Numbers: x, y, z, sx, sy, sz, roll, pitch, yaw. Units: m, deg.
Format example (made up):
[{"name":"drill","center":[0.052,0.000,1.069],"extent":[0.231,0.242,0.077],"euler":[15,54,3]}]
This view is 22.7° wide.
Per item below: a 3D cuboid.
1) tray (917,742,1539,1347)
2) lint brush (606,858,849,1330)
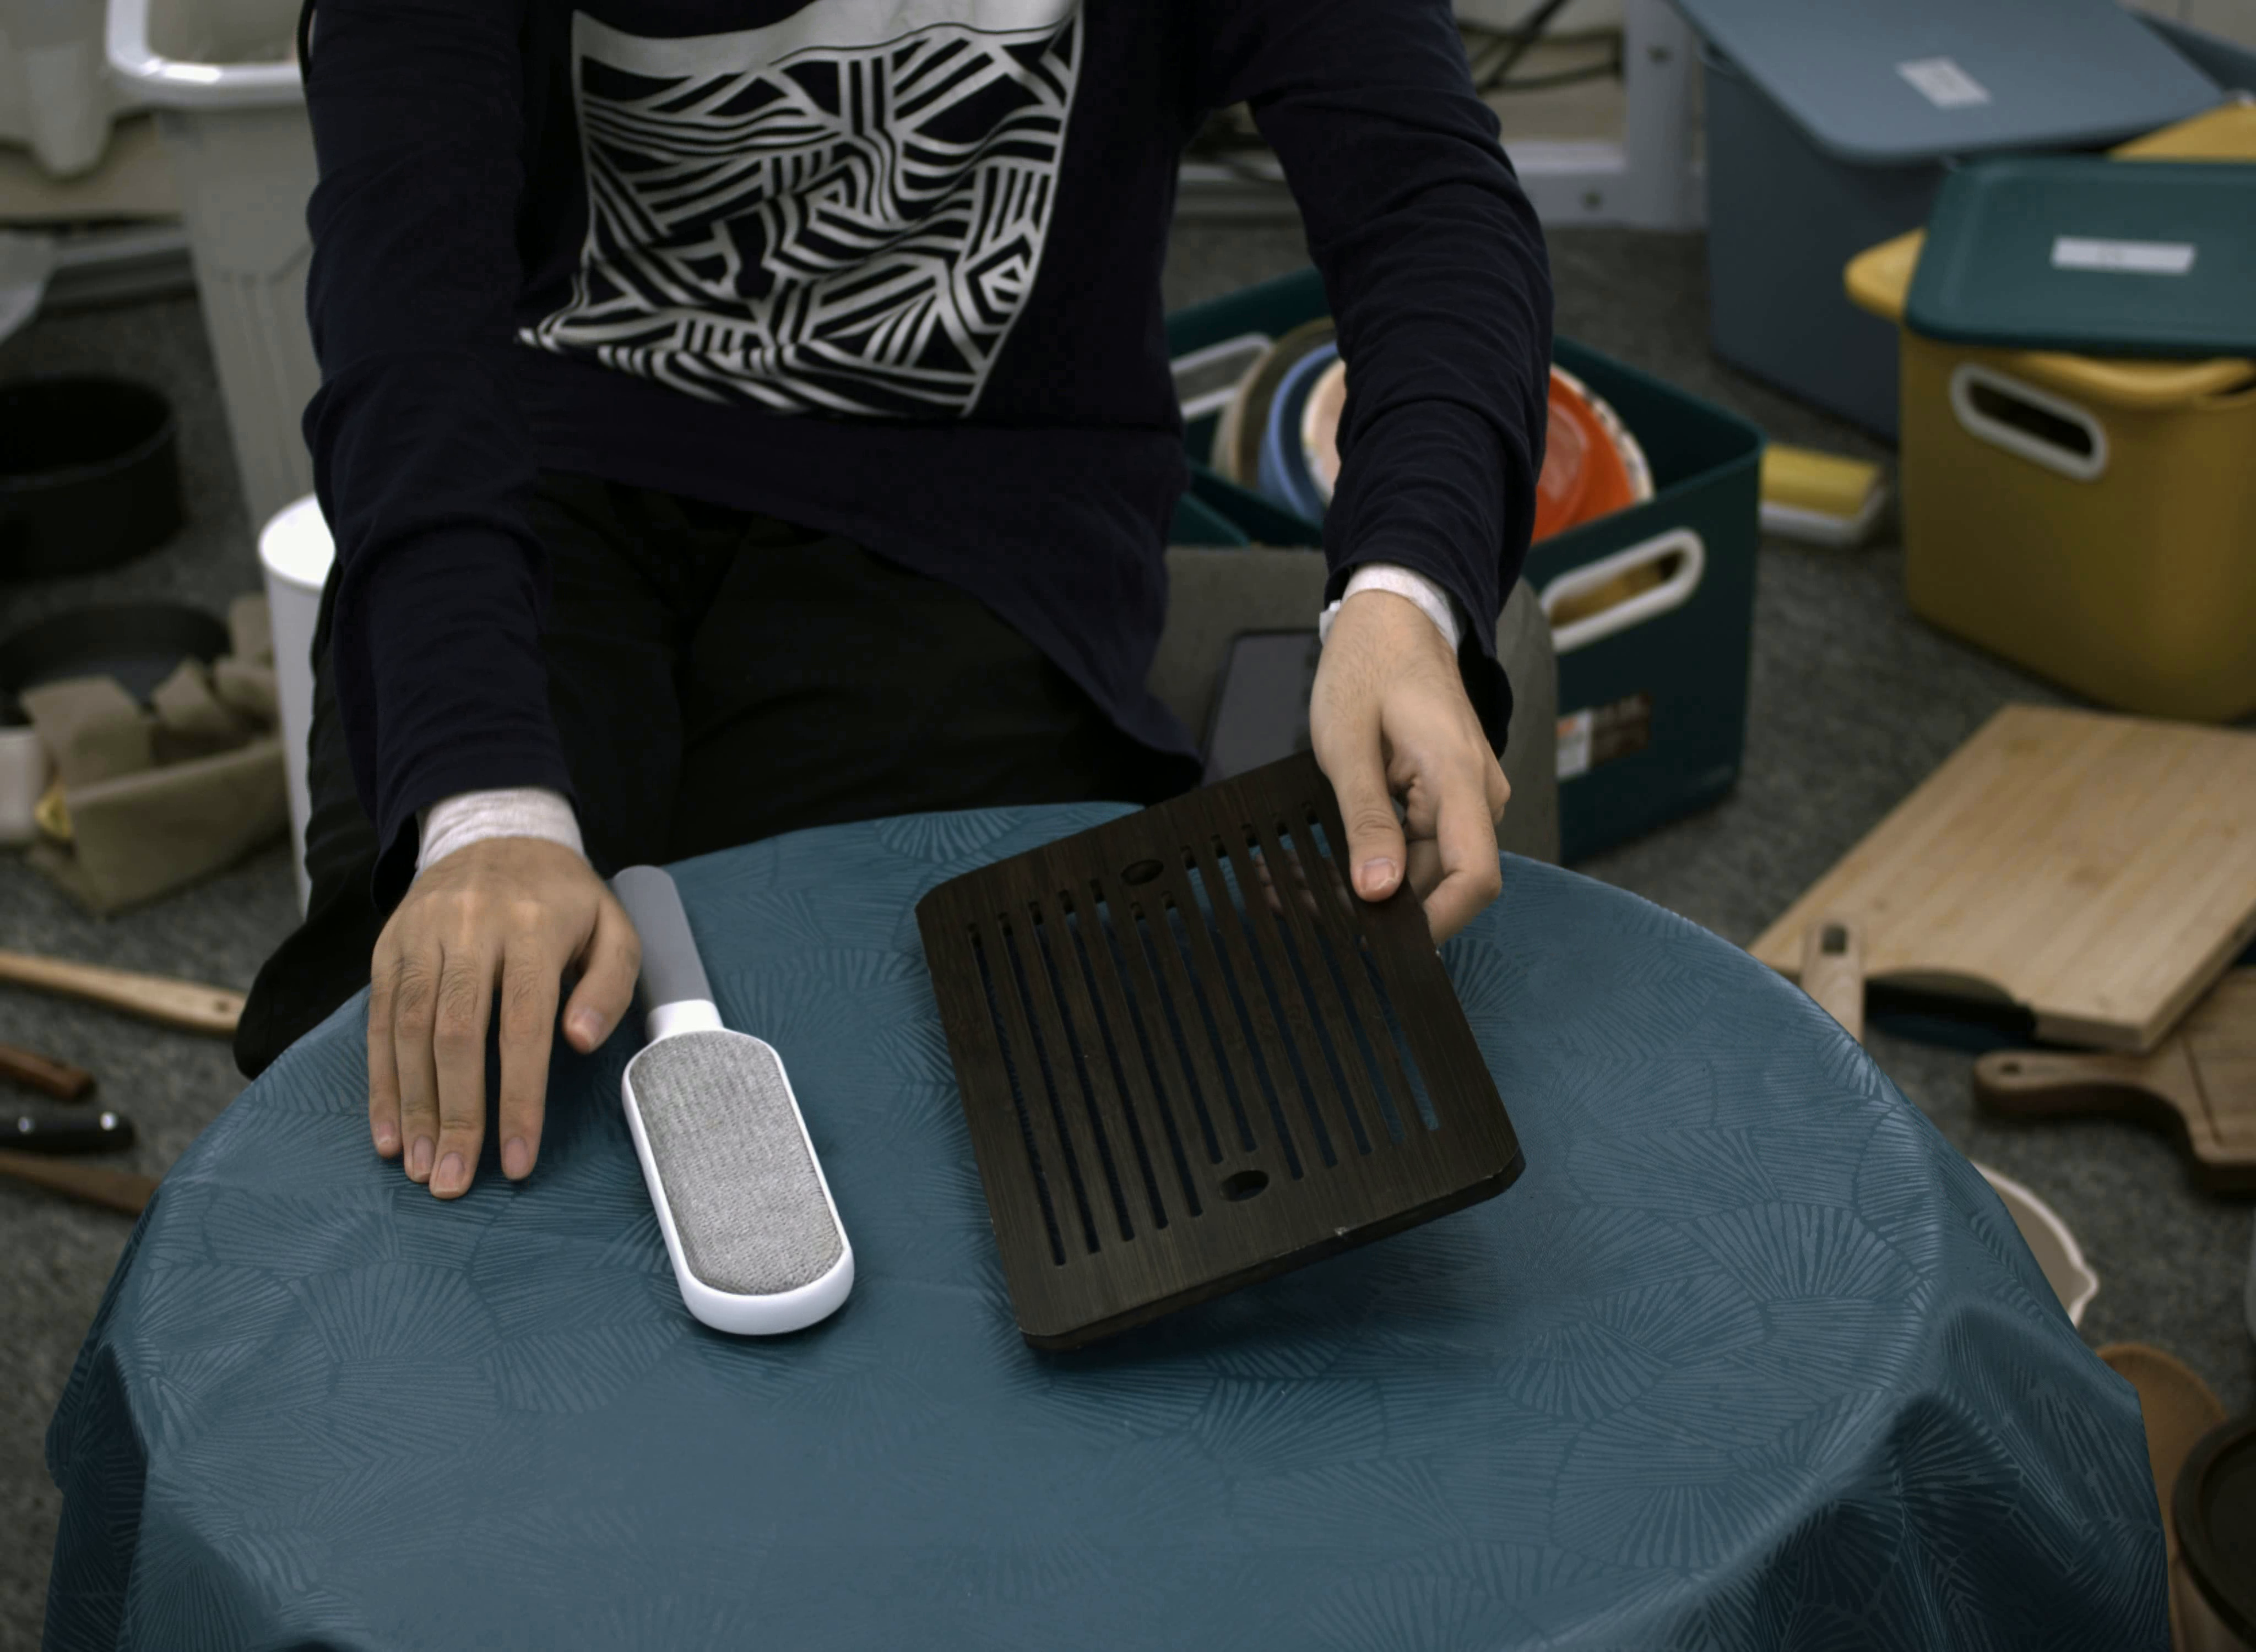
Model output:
[{"name":"tray","center":[0.028,0.070,1.895],"extent":[0.169,0.018,0.309],"euler":[-20,28,0]},{"name":"lint brush","center":[-0.144,0.086,1.915],"extent":[0.060,0.021,0.312],"euler":[-13,28,-8]}]
